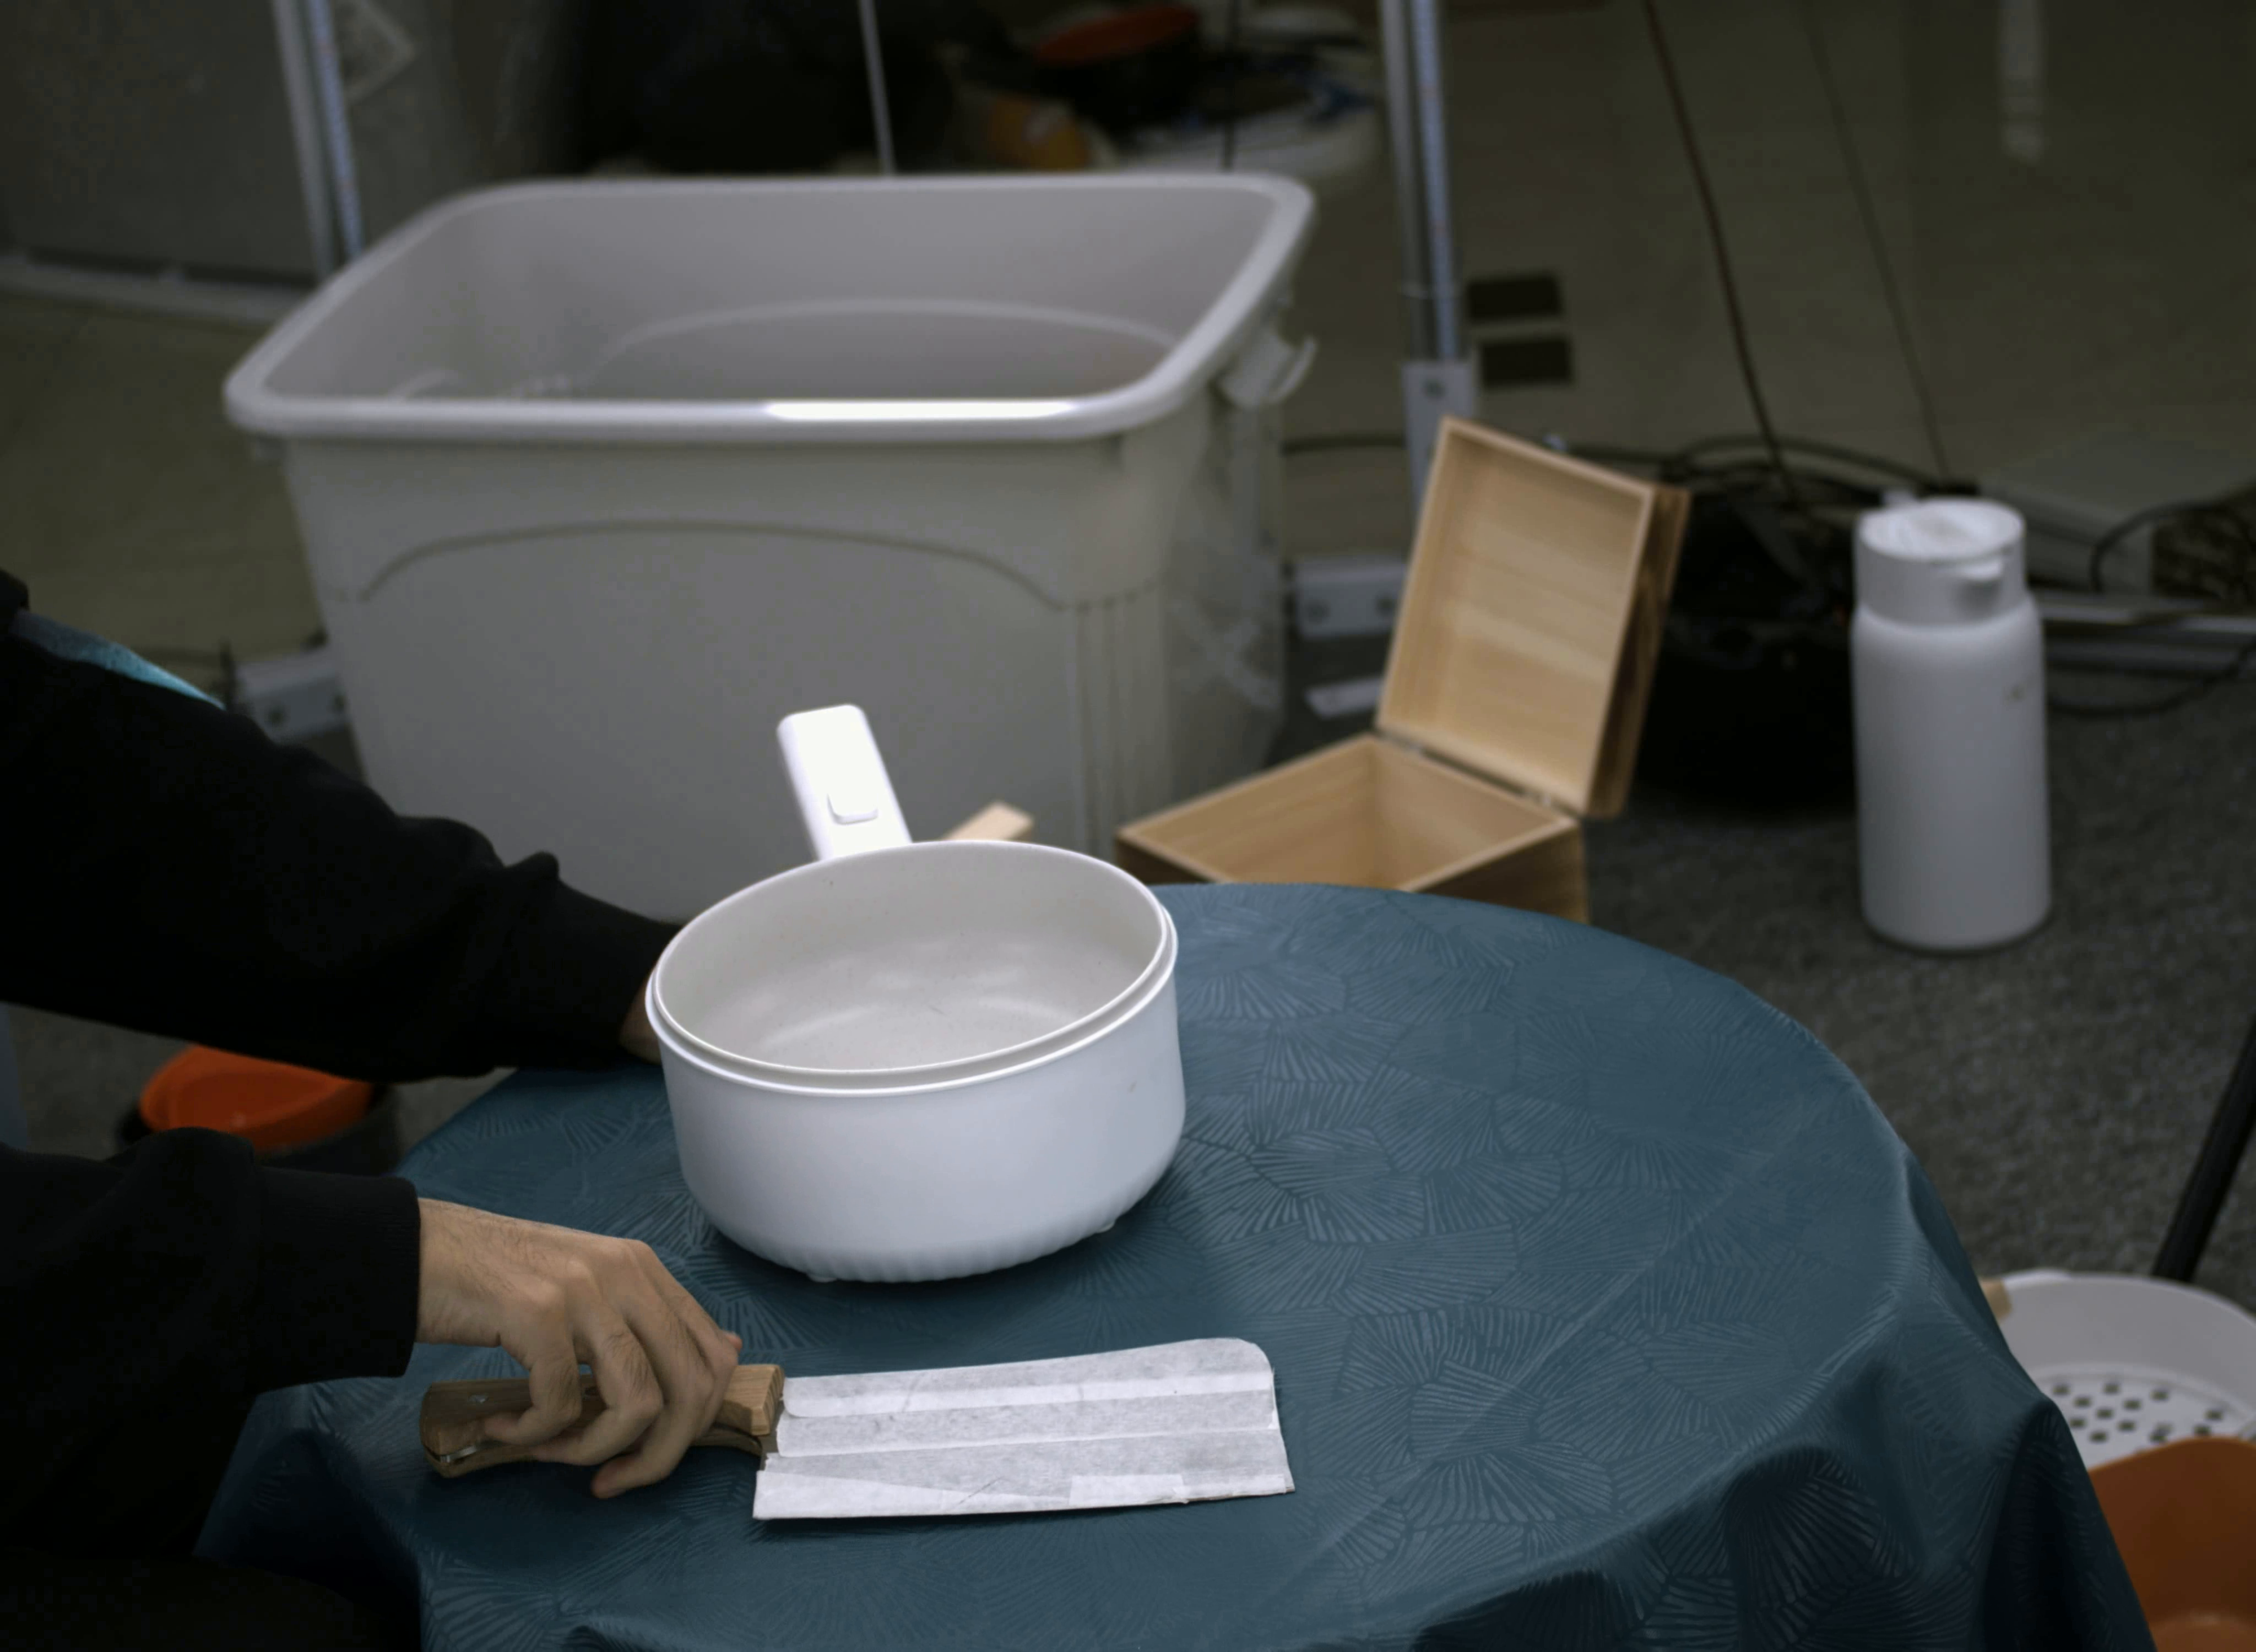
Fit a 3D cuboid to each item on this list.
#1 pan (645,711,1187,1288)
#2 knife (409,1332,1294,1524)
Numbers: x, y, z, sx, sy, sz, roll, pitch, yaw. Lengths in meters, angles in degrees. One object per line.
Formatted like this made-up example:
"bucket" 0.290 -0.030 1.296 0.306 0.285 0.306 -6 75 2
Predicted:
"pan" -0.090 0.065 2.212 0.201 0.104 0.350 -12 25 -6
"knife" -0.098 0.212 1.994 0.315 0.022 0.112 -2 28 5
